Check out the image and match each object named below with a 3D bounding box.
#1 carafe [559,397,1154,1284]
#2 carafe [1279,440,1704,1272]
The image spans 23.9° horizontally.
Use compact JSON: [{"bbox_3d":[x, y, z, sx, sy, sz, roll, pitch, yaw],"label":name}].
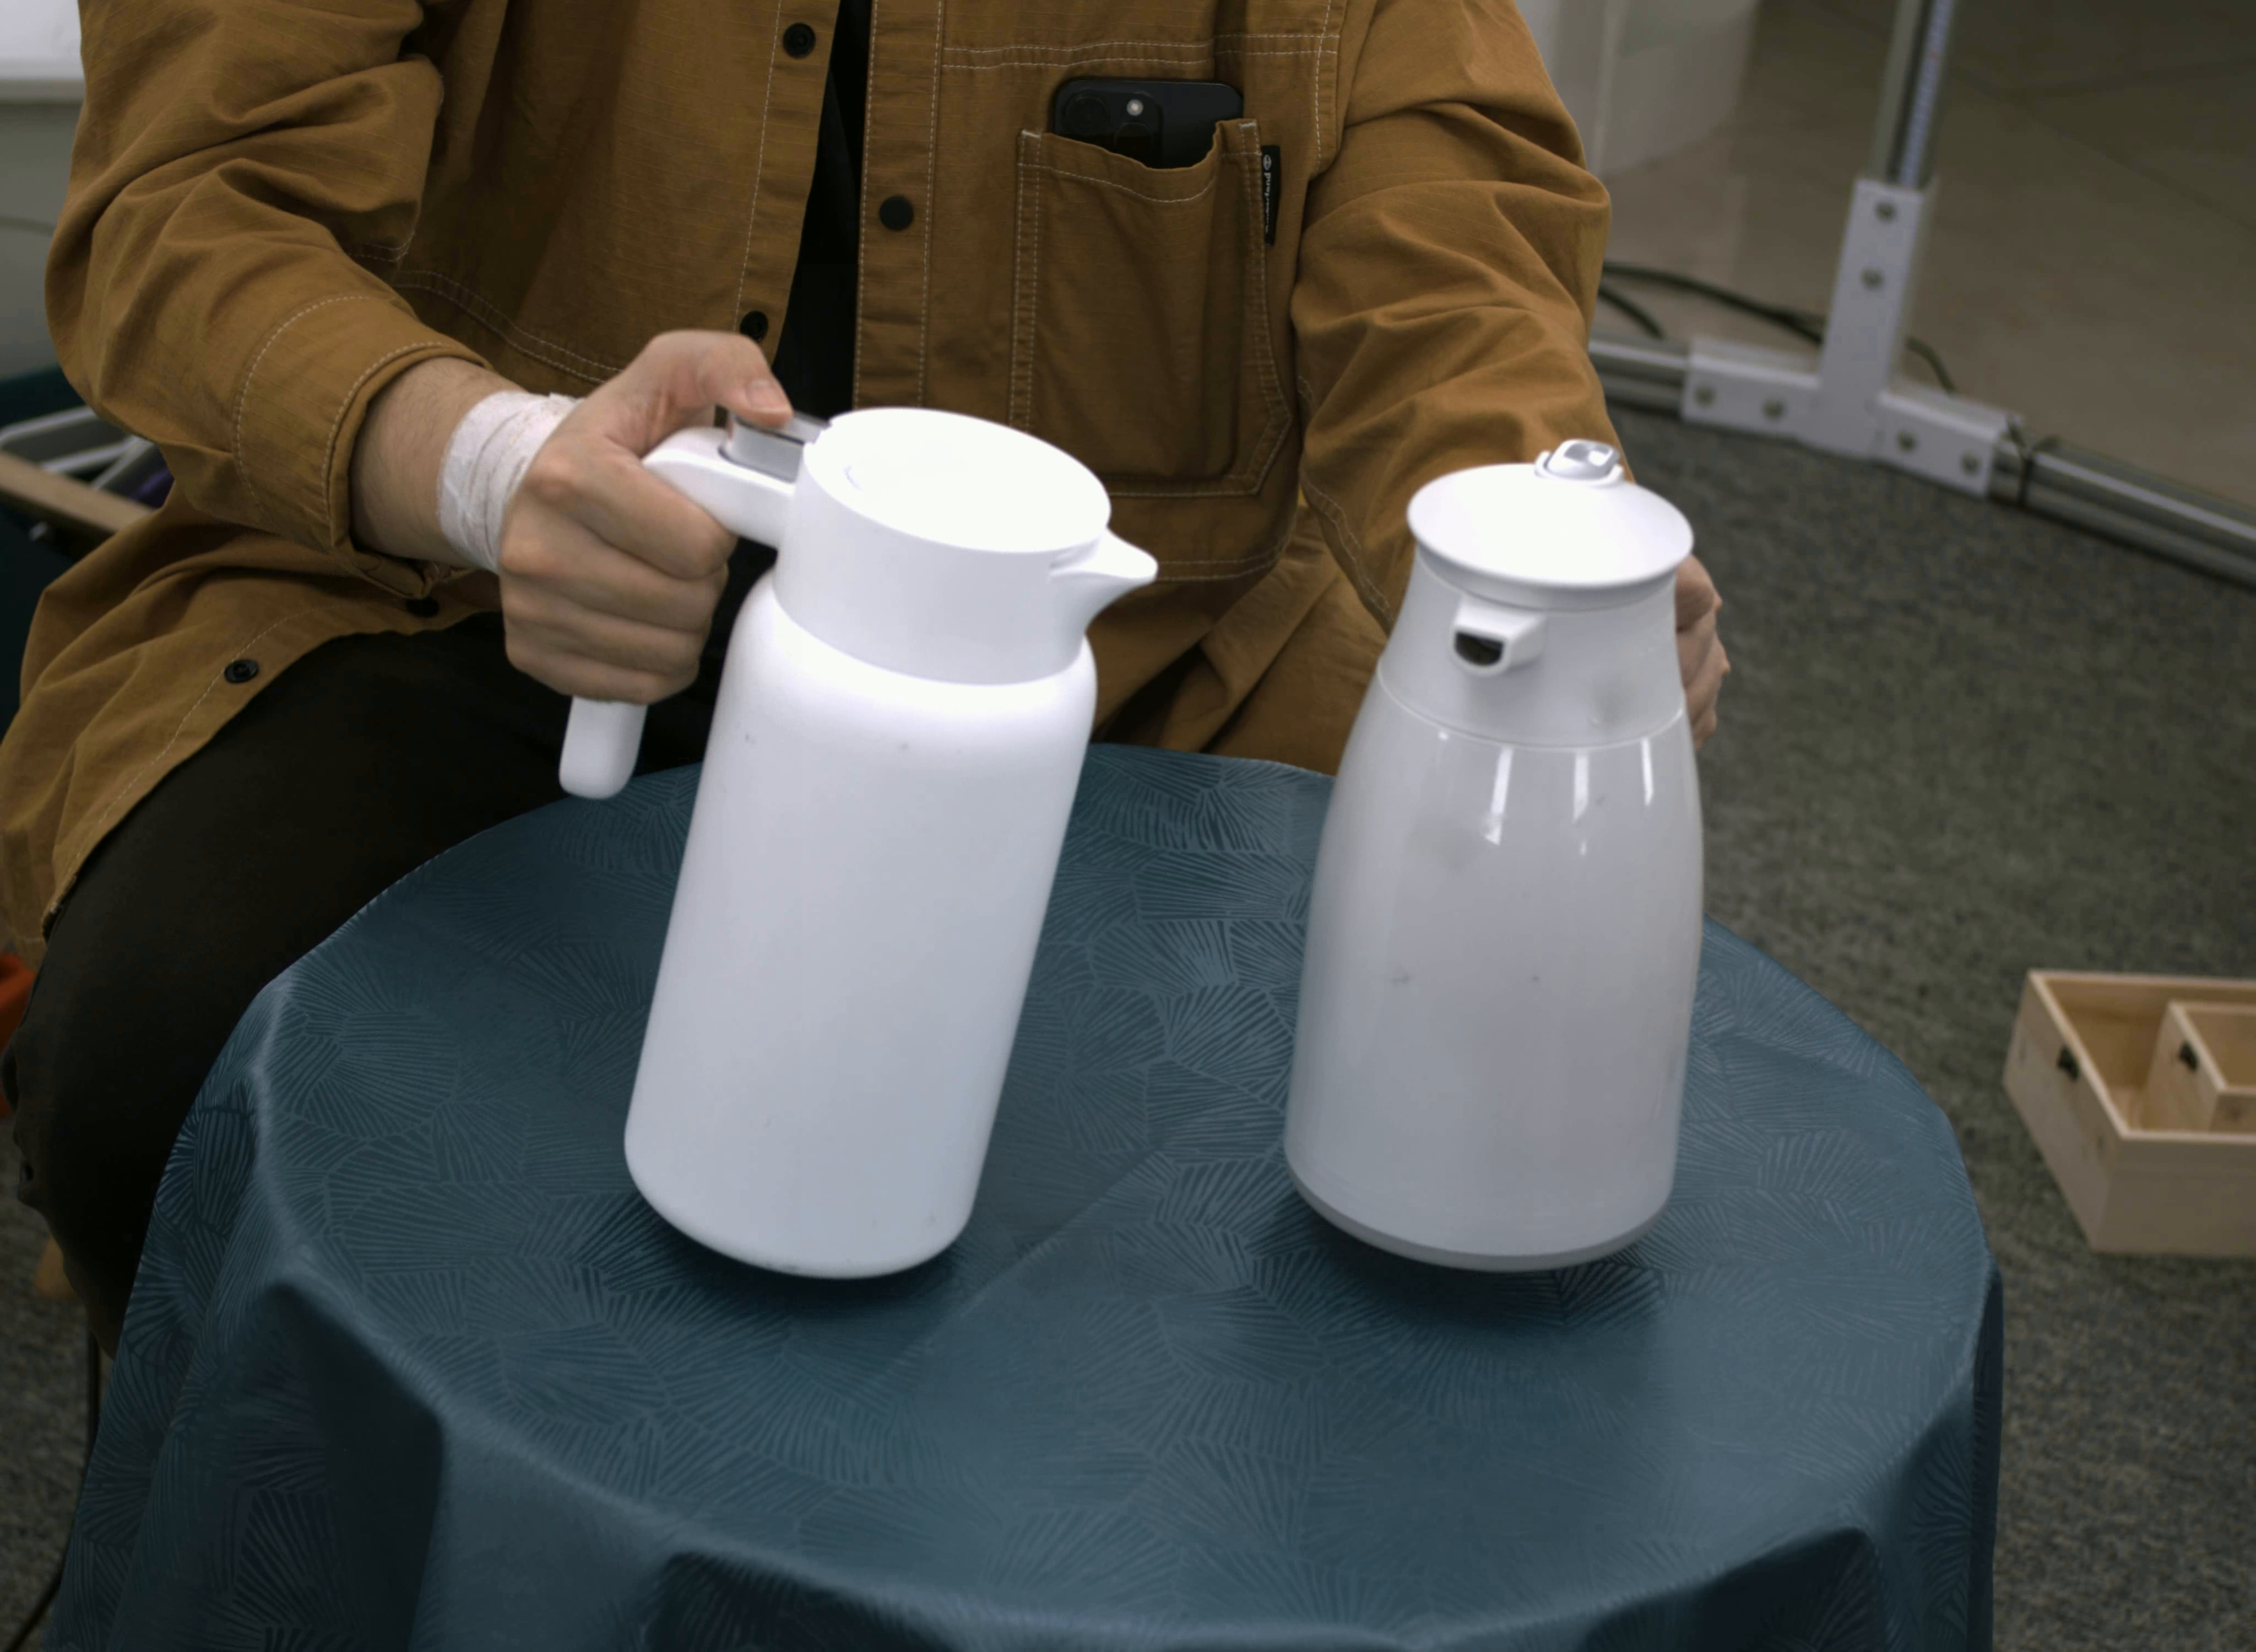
[{"bbox_3d":[-0.098,0.002,1.698,0.173,0.268,0.124,18,28,9],"label":"carafe"},{"bbox_3d":[0.132,-0.001,1.755,0.133,0.248,0.168,13,27,18],"label":"carafe"}]
